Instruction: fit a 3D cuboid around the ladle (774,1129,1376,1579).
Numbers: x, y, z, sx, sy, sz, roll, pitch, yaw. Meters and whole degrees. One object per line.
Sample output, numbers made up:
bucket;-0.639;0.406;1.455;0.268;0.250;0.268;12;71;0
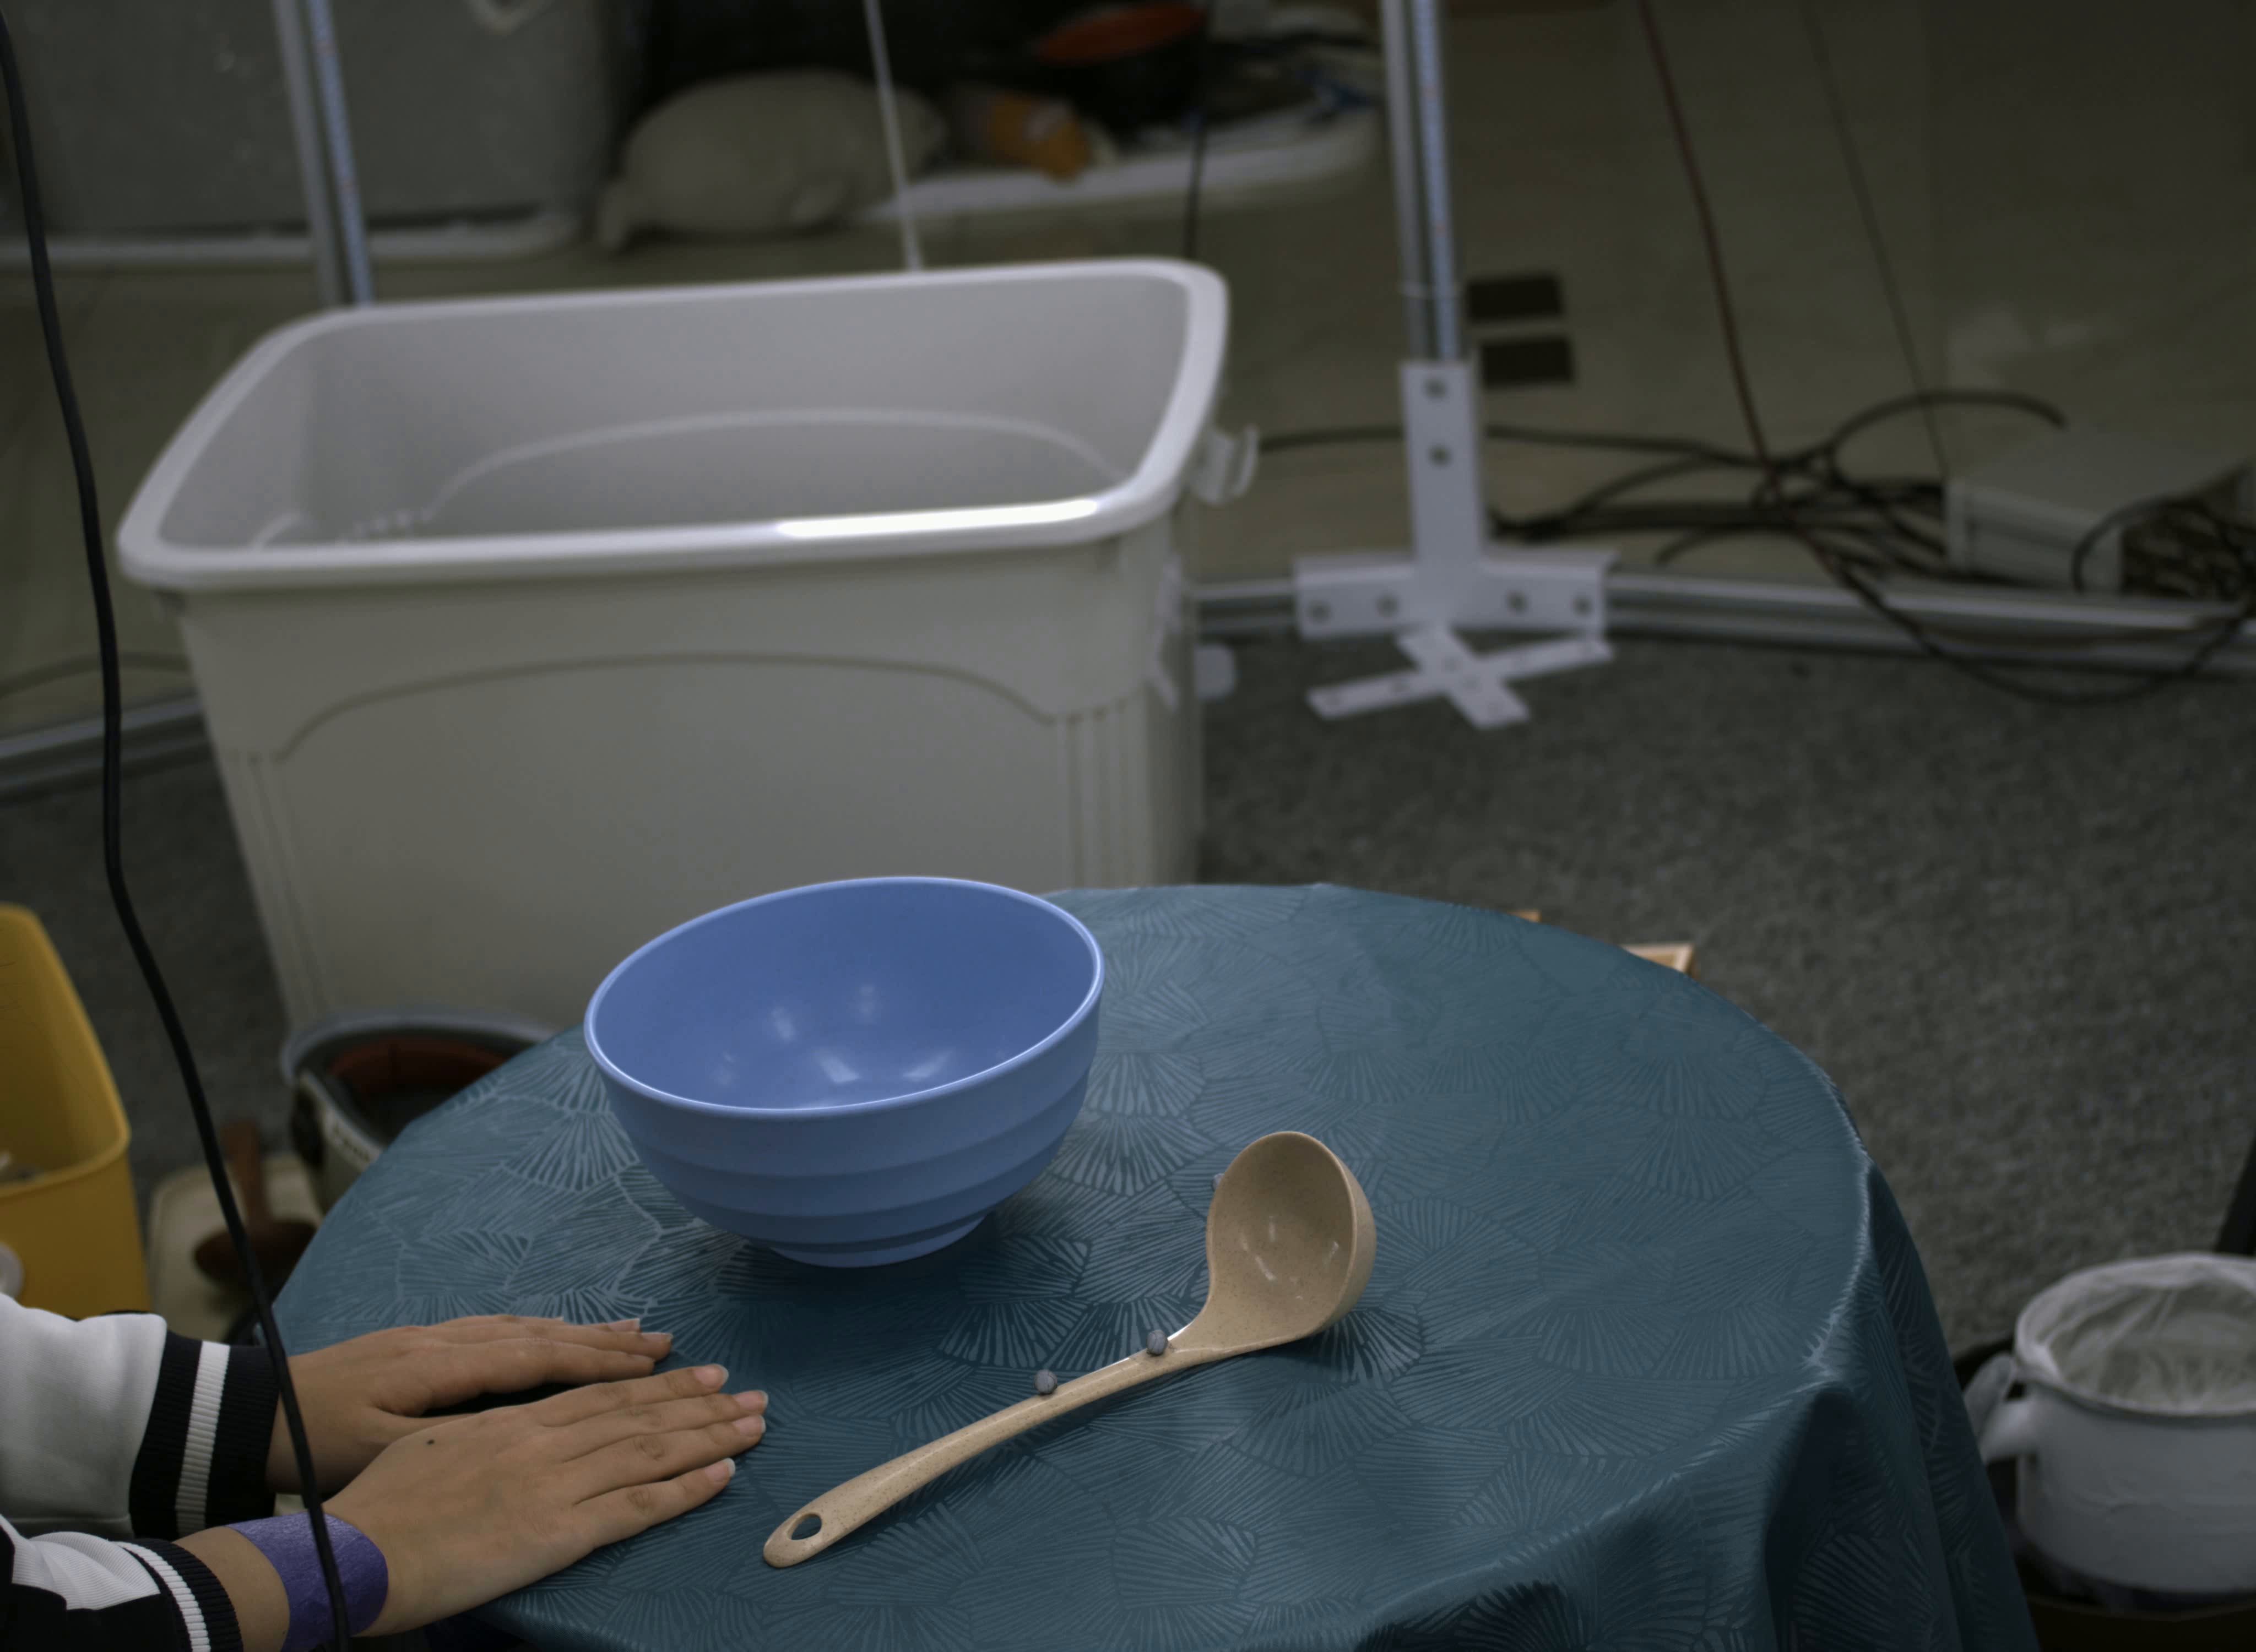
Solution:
ladle;-0.021;0.180;1.978;0.252;0.074;0.071;-24;42;-32

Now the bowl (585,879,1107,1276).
bowl;-0.101;0.106;2.138;0.196;0.097;0.193;-5;27;2
